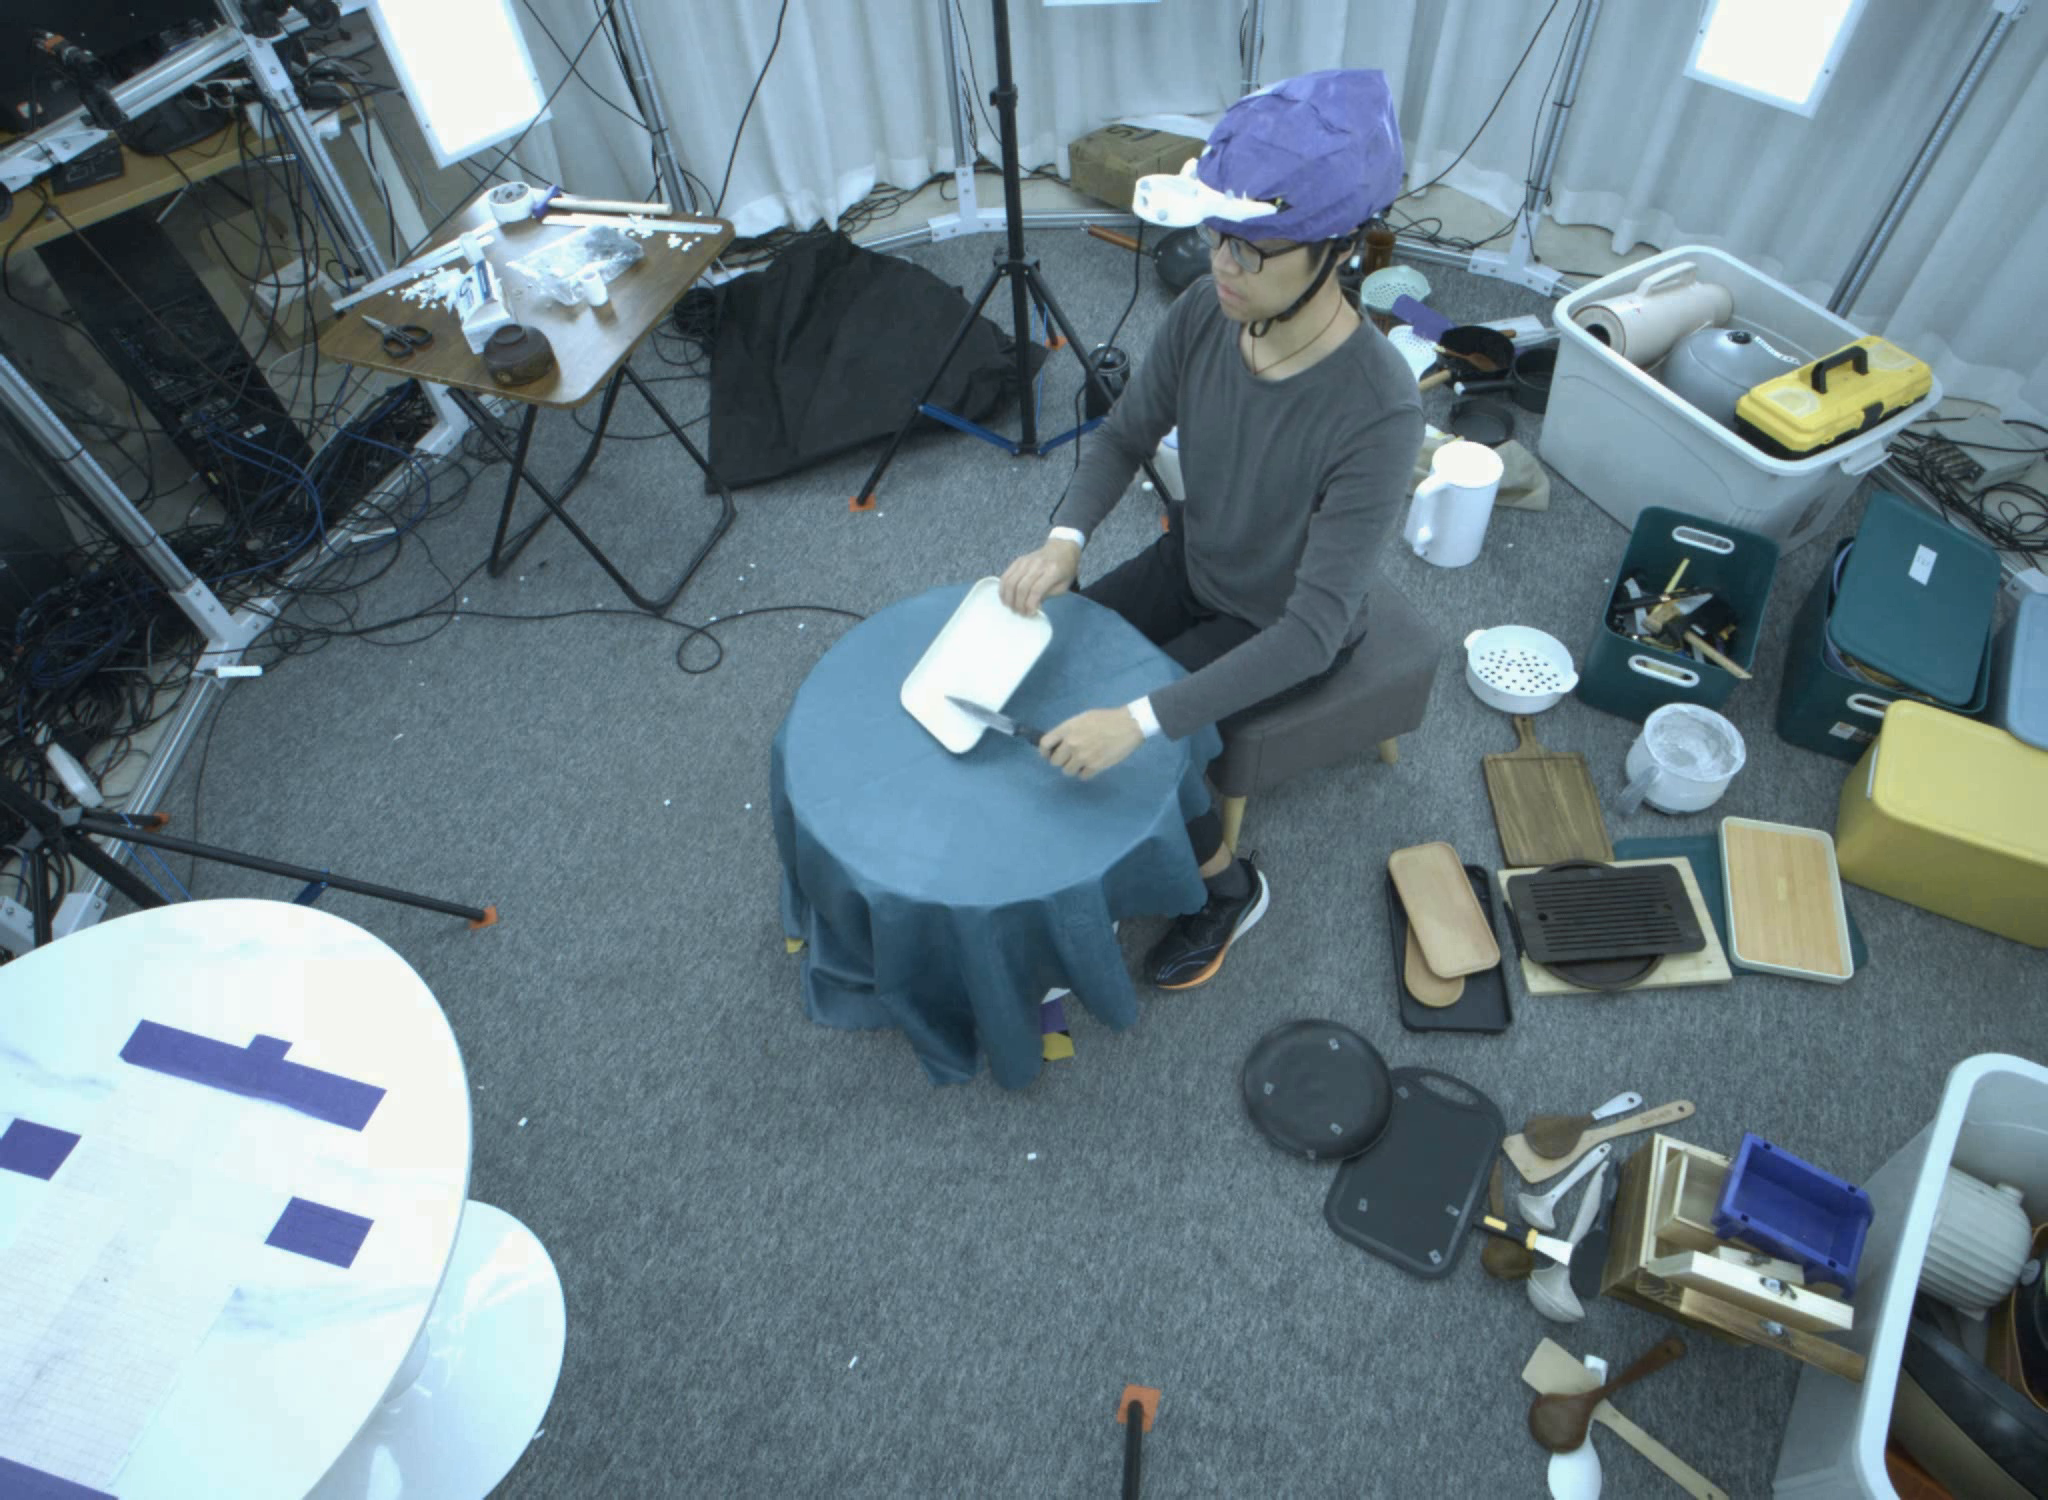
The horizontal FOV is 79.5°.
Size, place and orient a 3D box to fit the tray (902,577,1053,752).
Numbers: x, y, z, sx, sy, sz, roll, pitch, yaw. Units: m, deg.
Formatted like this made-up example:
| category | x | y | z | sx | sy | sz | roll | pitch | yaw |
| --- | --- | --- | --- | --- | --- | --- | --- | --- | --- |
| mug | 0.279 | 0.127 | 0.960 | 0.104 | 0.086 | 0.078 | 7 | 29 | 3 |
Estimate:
| category | x | y | z | sx | sy | sz | roll | pitch | yaw |
| --- | --- | --- | --- | --- | --- | --- | --- | --- | --- |
| tray | -0.070 | -0.125 | 1.800 | 0.168 | 0.018 | 0.239 | 42 | 99 | 32 |

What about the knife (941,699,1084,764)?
| category | x | y | z | sx | sy | sz | roll | pitch | yaw |
| --- | --- | --- | --- | --- | --- | --- | --- | --- | --- |
| knife | -0.017 | -0.032 | 1.745 | 0.234 | 0.016 | 0.024 | 23 | 90 | 20 |
